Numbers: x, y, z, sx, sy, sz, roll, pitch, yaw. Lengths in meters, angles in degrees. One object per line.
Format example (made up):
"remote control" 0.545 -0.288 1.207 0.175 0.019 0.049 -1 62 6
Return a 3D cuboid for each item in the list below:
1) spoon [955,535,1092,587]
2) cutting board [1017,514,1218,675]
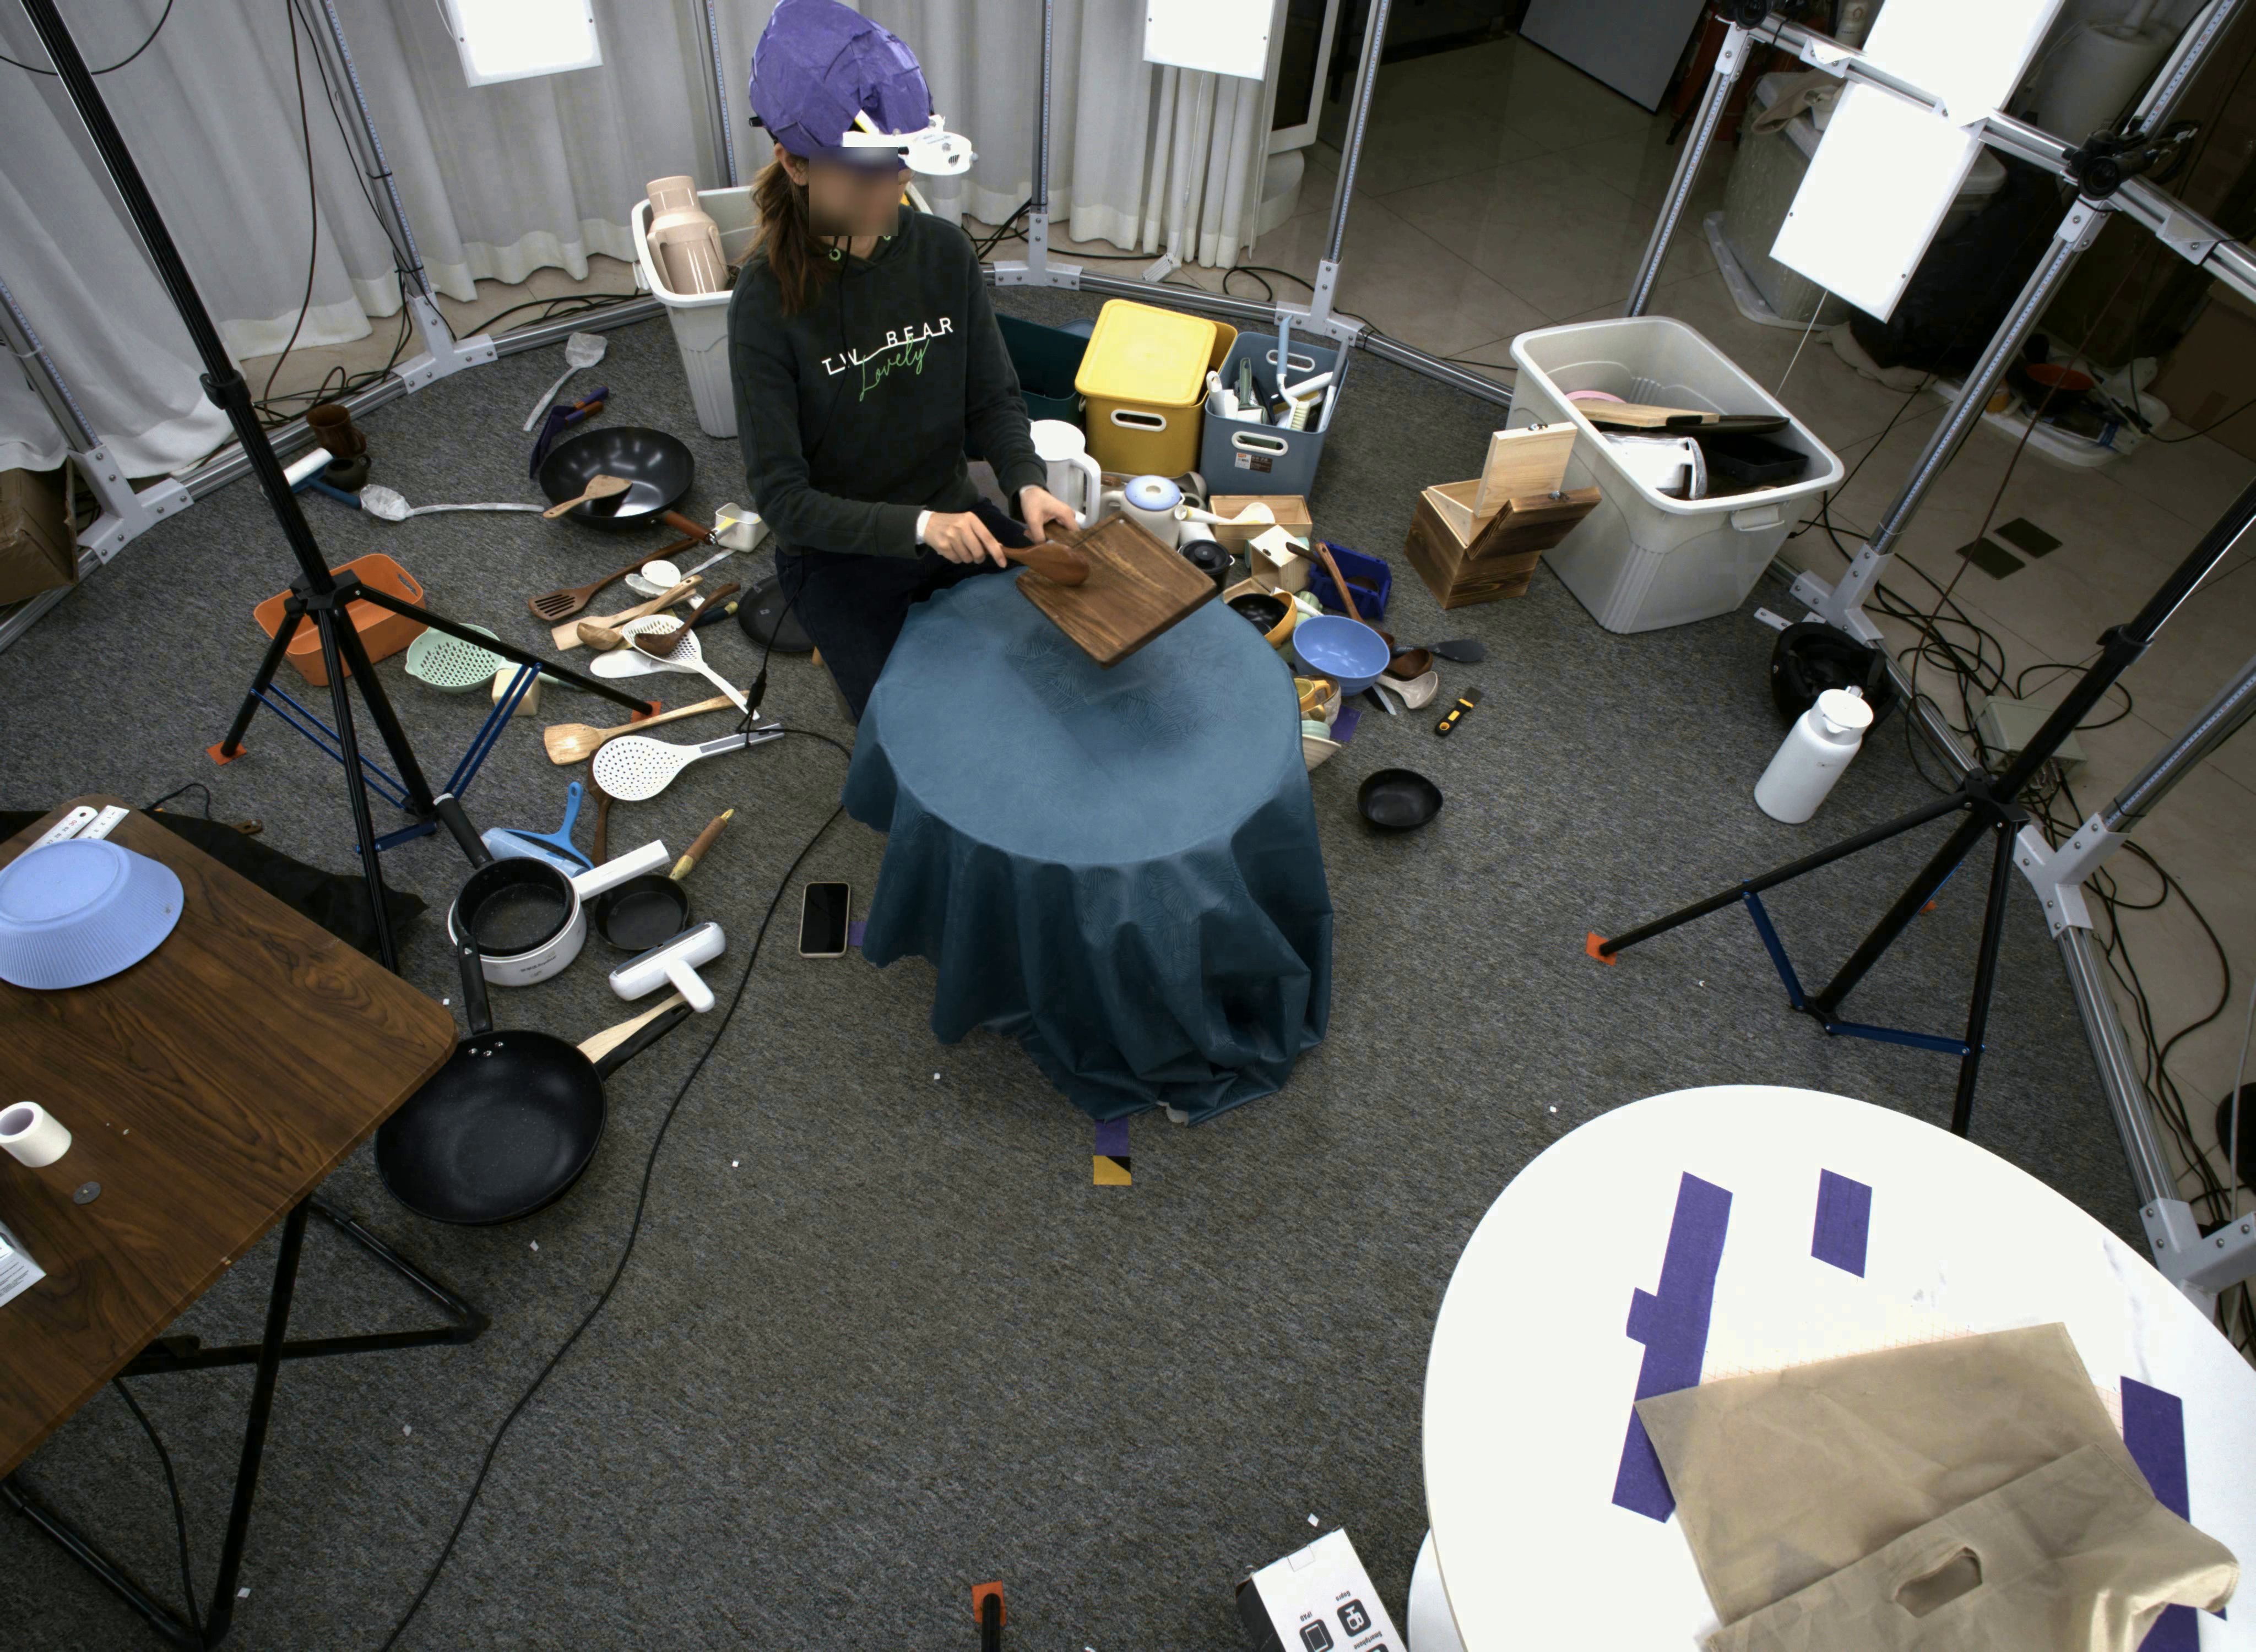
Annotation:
"spoon" -0.150 -0.378 1.826 0.217 0.074 0.017 18 63 20
"cutting board" -0.044 -0.360 1.842 0.201 0.022 0.359 -36 48 -8
